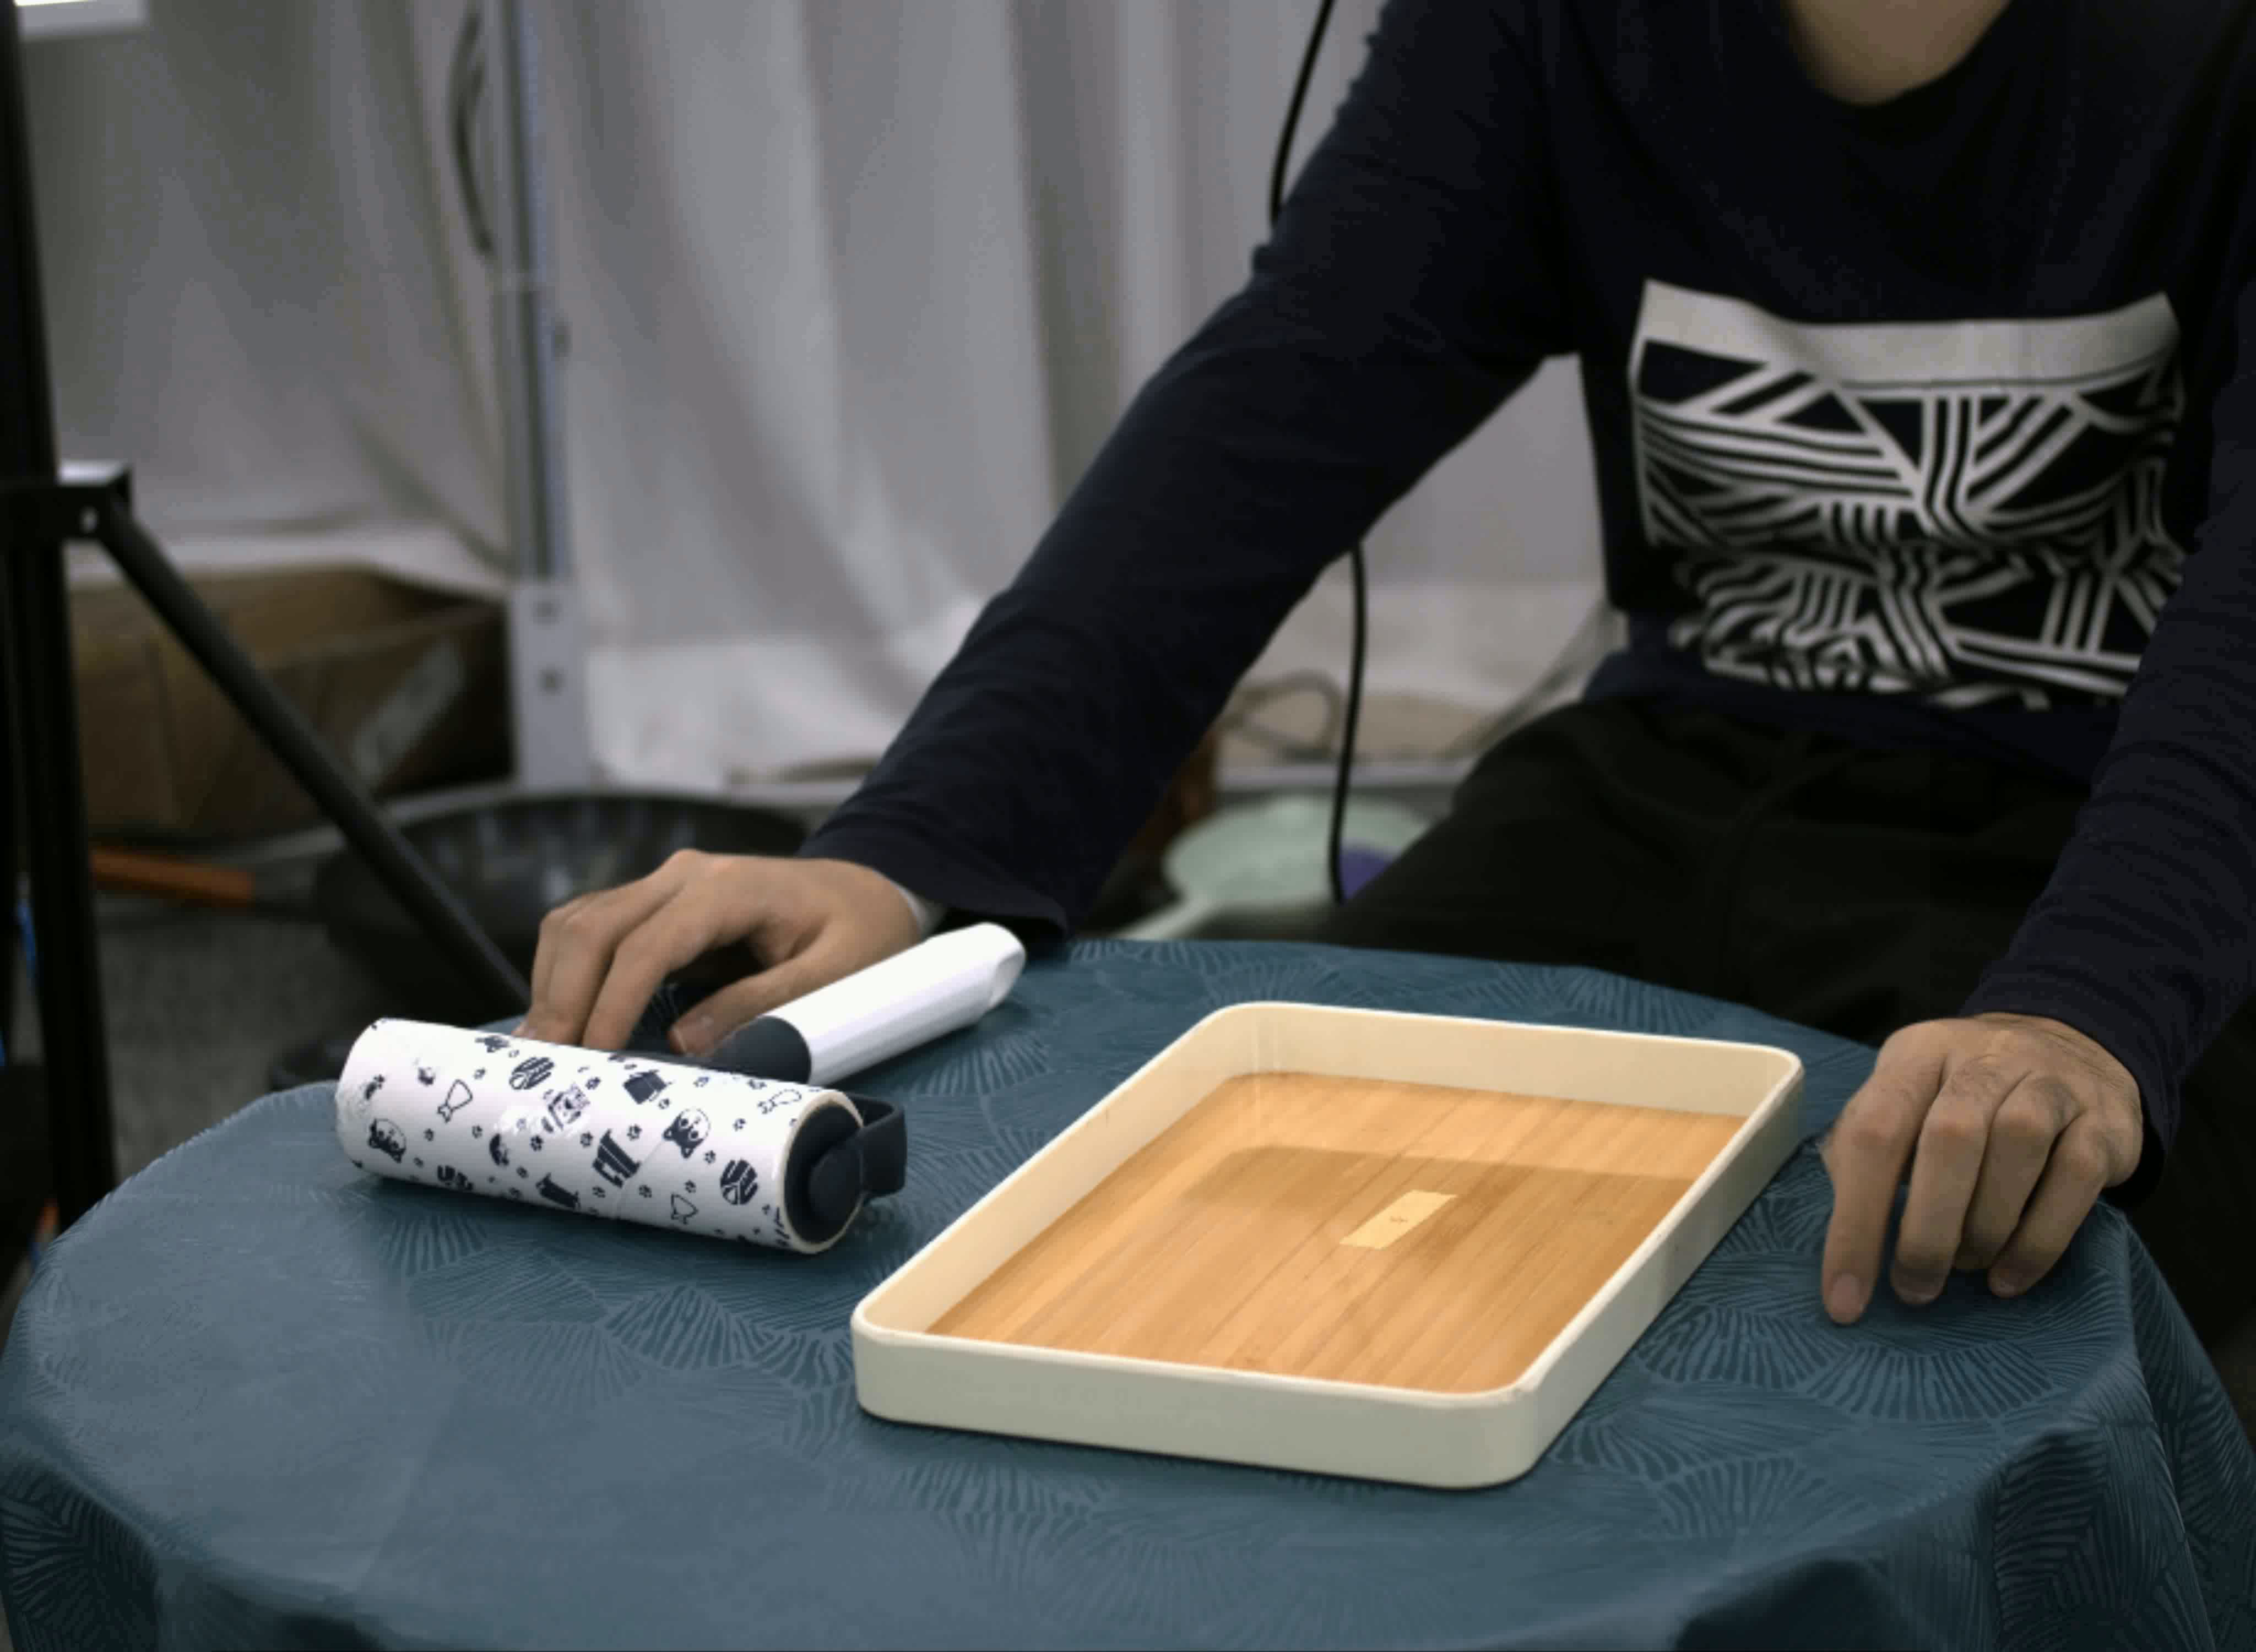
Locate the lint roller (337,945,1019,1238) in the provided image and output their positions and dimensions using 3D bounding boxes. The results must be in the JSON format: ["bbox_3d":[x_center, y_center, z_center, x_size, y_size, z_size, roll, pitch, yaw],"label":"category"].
[{"bbox_3d":[-0.105,0.067,1.647,0.179,0.050,0.242,6,16,30],"label":"lint roller"}]

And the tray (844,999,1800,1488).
[{"bbox_3d":[0.063,0.111,1.490,0.194,0.027,0.296,4,17,23],"label":"tray"}]
